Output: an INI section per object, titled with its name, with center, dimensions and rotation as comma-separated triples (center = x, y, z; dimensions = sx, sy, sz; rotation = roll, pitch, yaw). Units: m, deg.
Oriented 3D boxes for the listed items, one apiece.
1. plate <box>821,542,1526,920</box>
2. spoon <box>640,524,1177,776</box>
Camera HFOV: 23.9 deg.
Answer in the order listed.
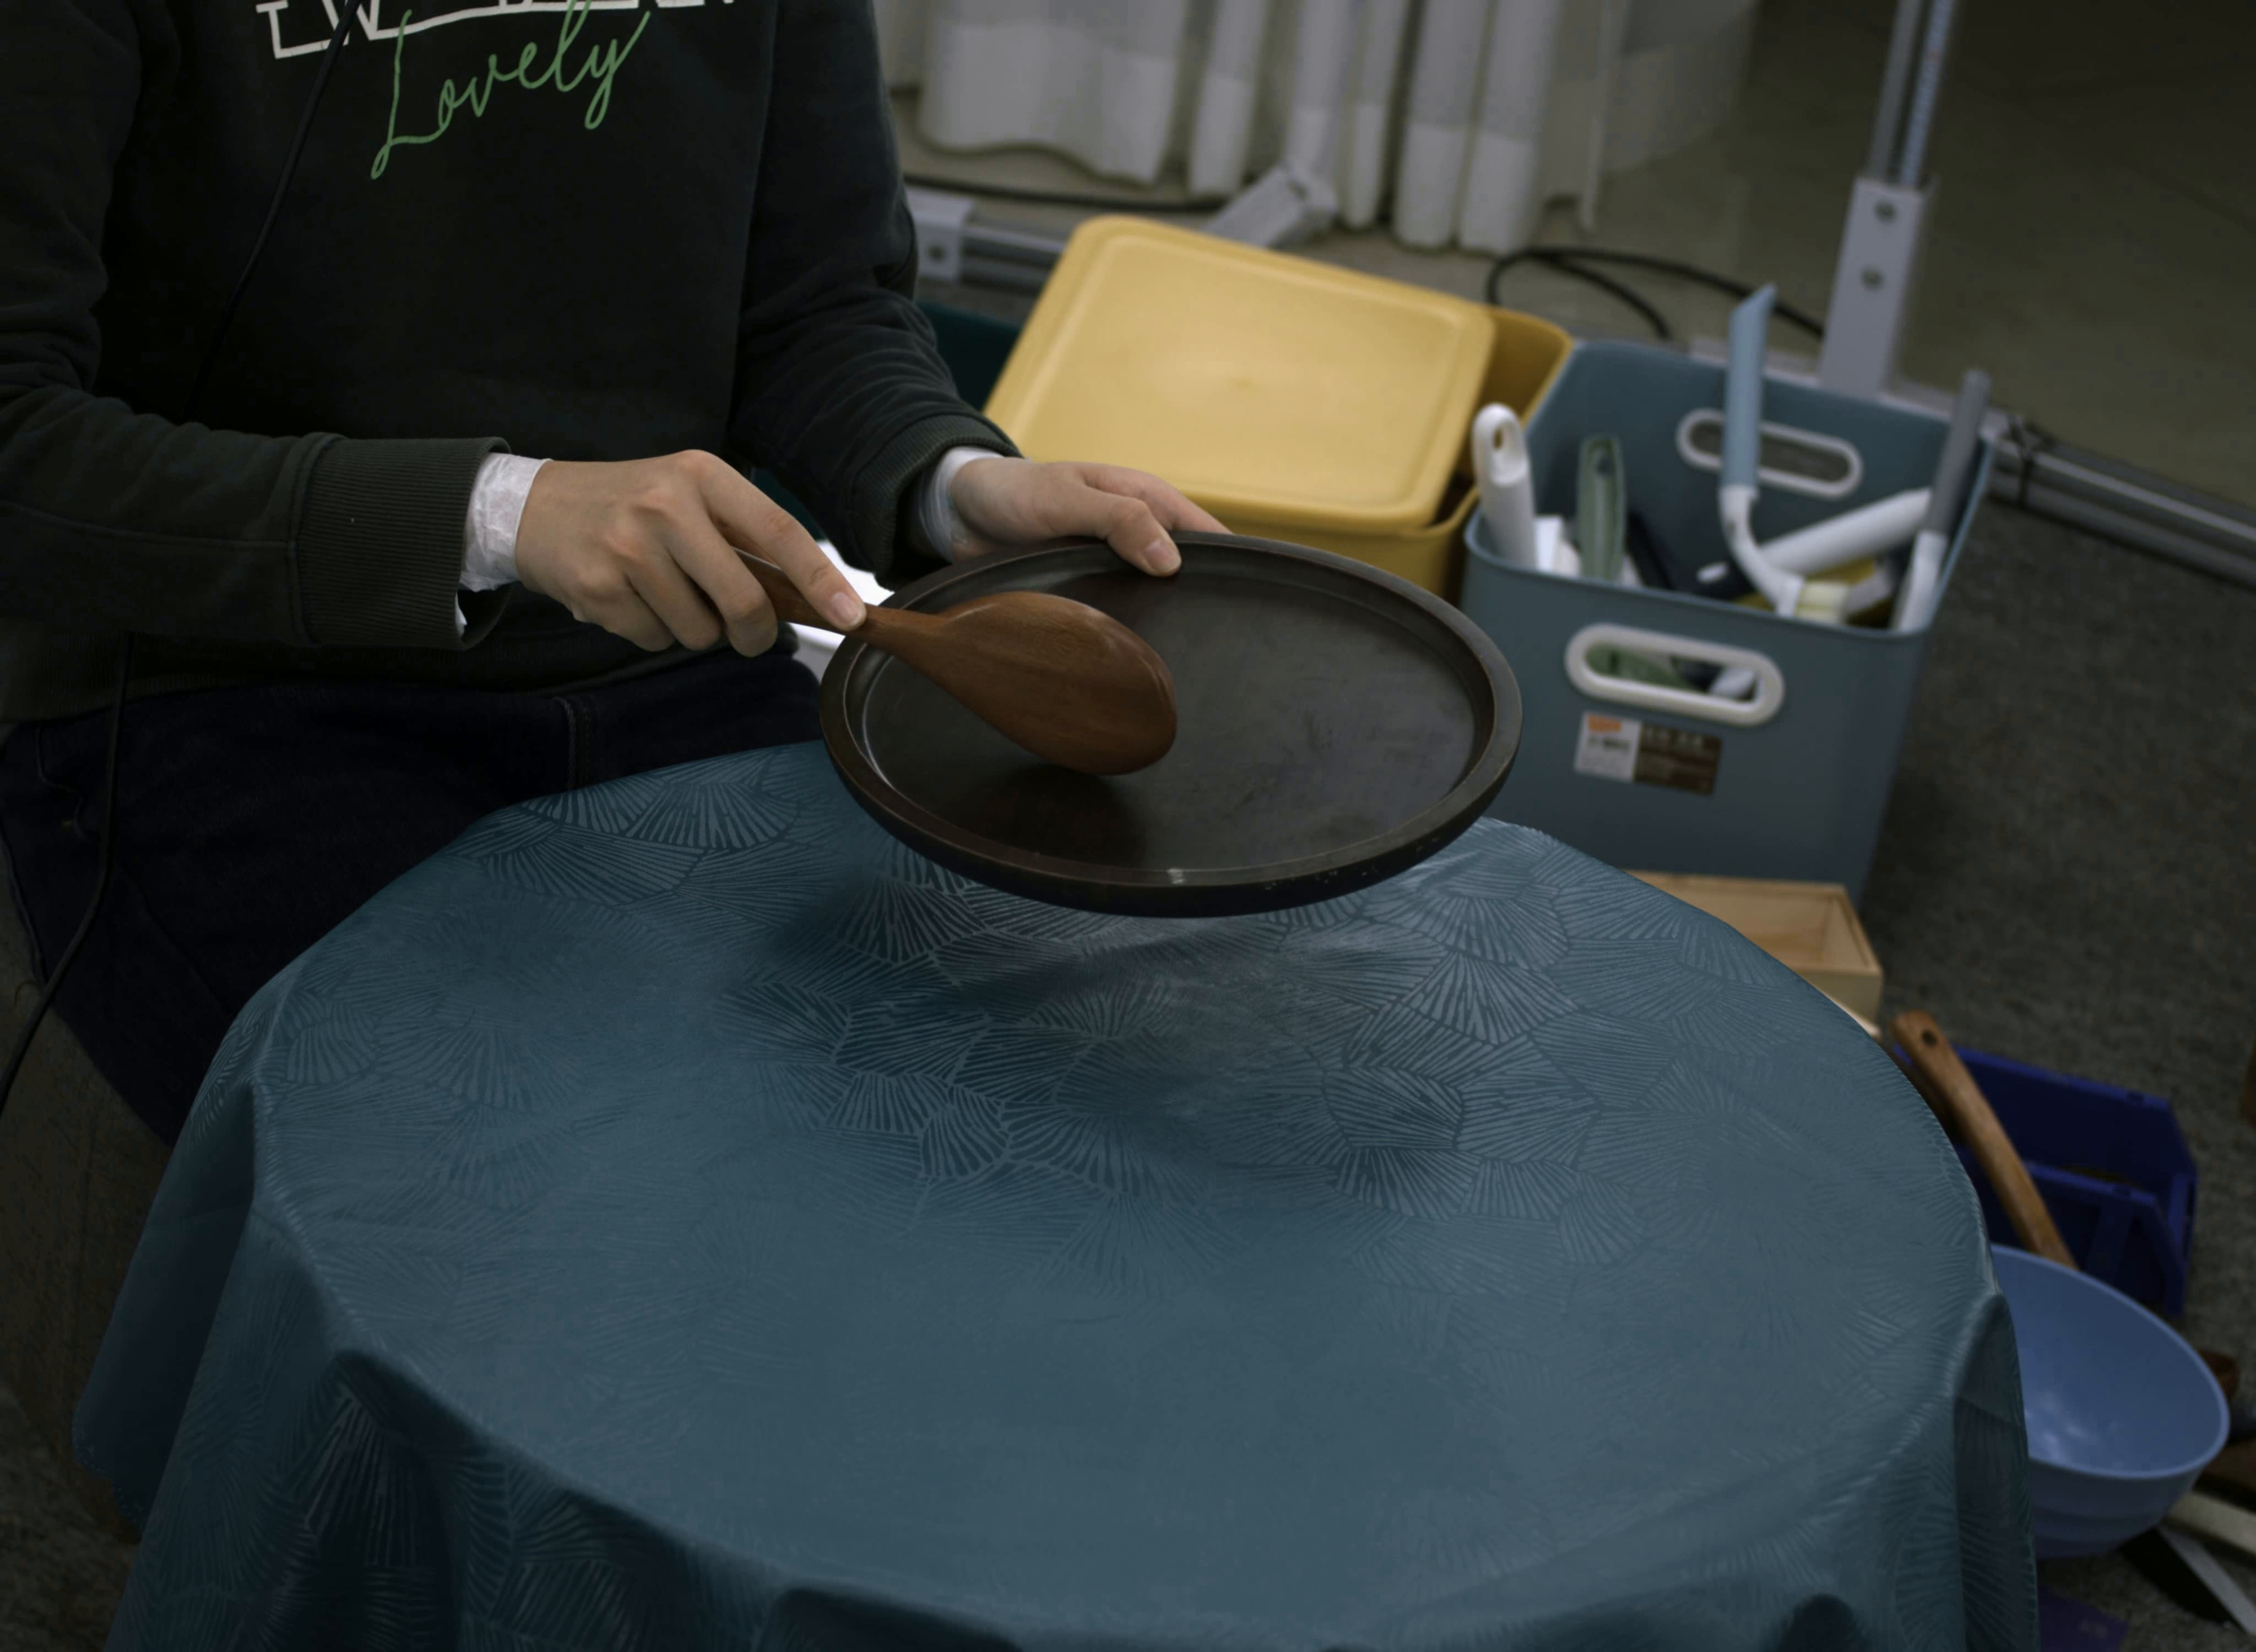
[plate]
center = 0.016, -0.036, 1.908
dimensions = 0.254, 0.029, 0.256
rotation = 1, 32, -1
[spoon]
center = -0.080, -0.066, 1.880
dimensions = 0.217, 0.075, 0.017
rotation = 19, 46, 23
